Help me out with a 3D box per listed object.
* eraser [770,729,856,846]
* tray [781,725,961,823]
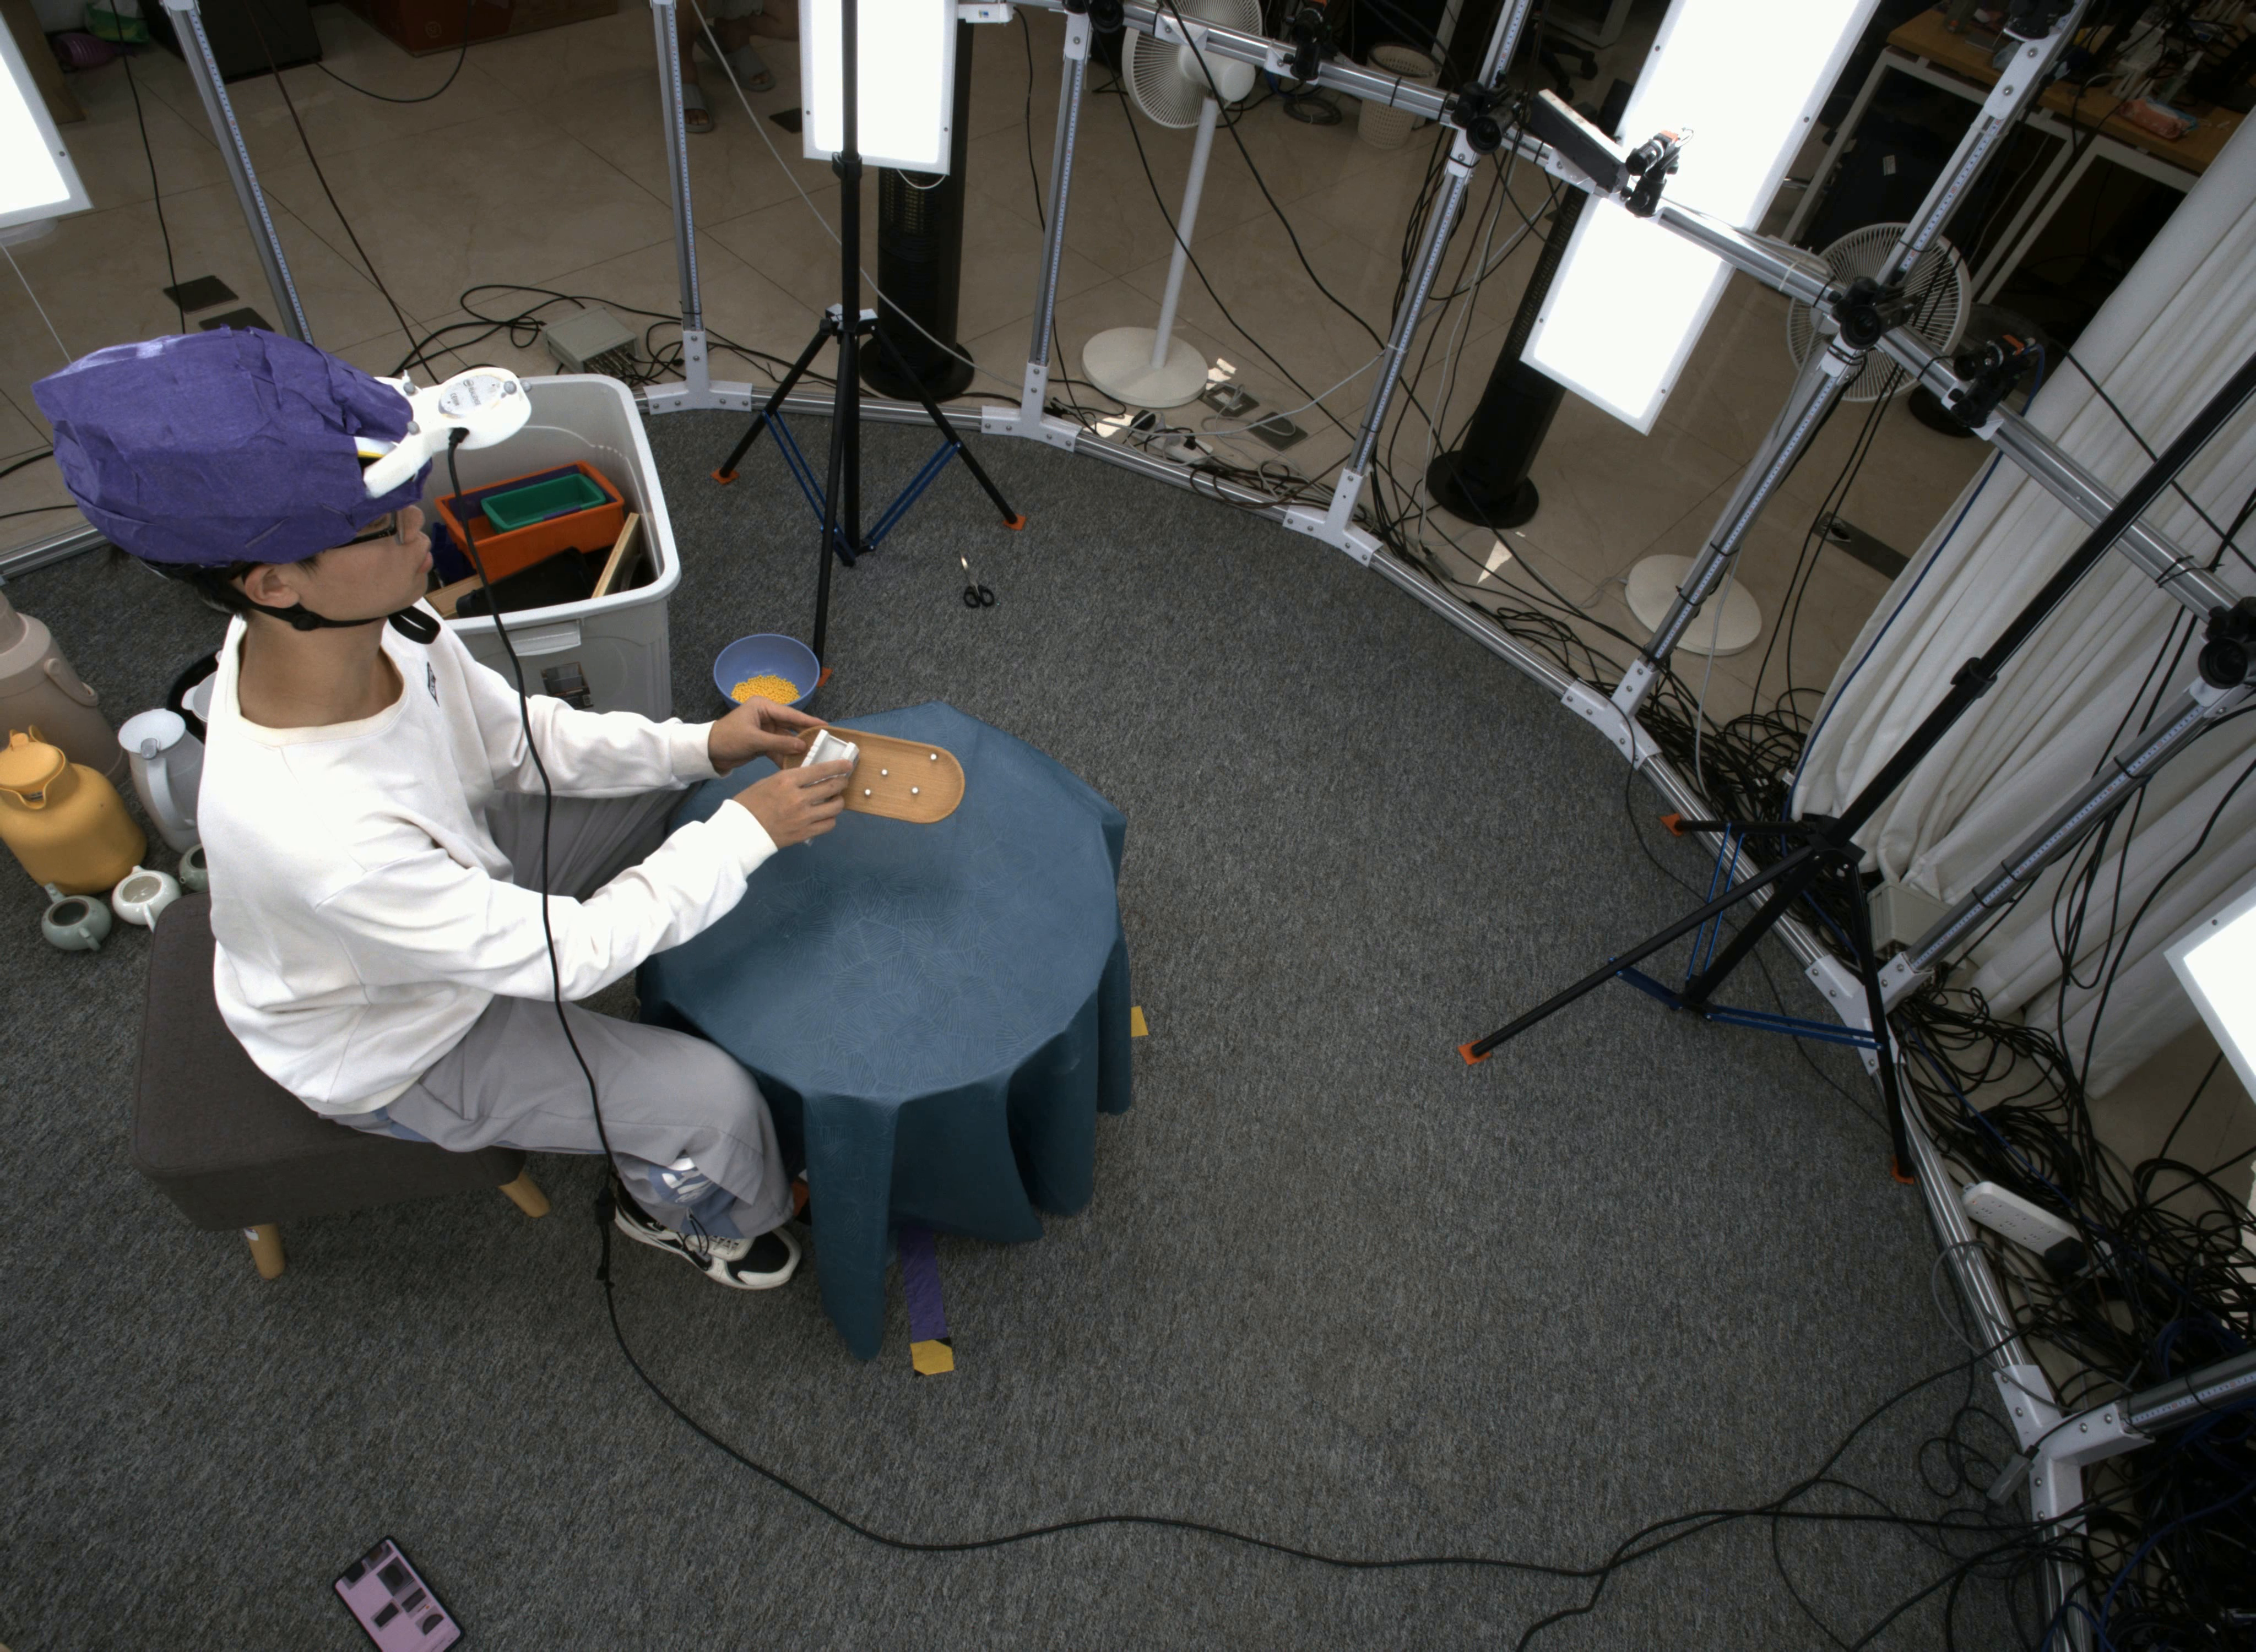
[{"bbox_3d":[-0.388,-0.048,1.605,0.049,0.047,0.134,20,73,9],"label":"eraser"},{"bbox_3d":[-0.324,-0.065,1.640,0.229,0.020,0.102,10,81,-1],"label":"tray"}]
